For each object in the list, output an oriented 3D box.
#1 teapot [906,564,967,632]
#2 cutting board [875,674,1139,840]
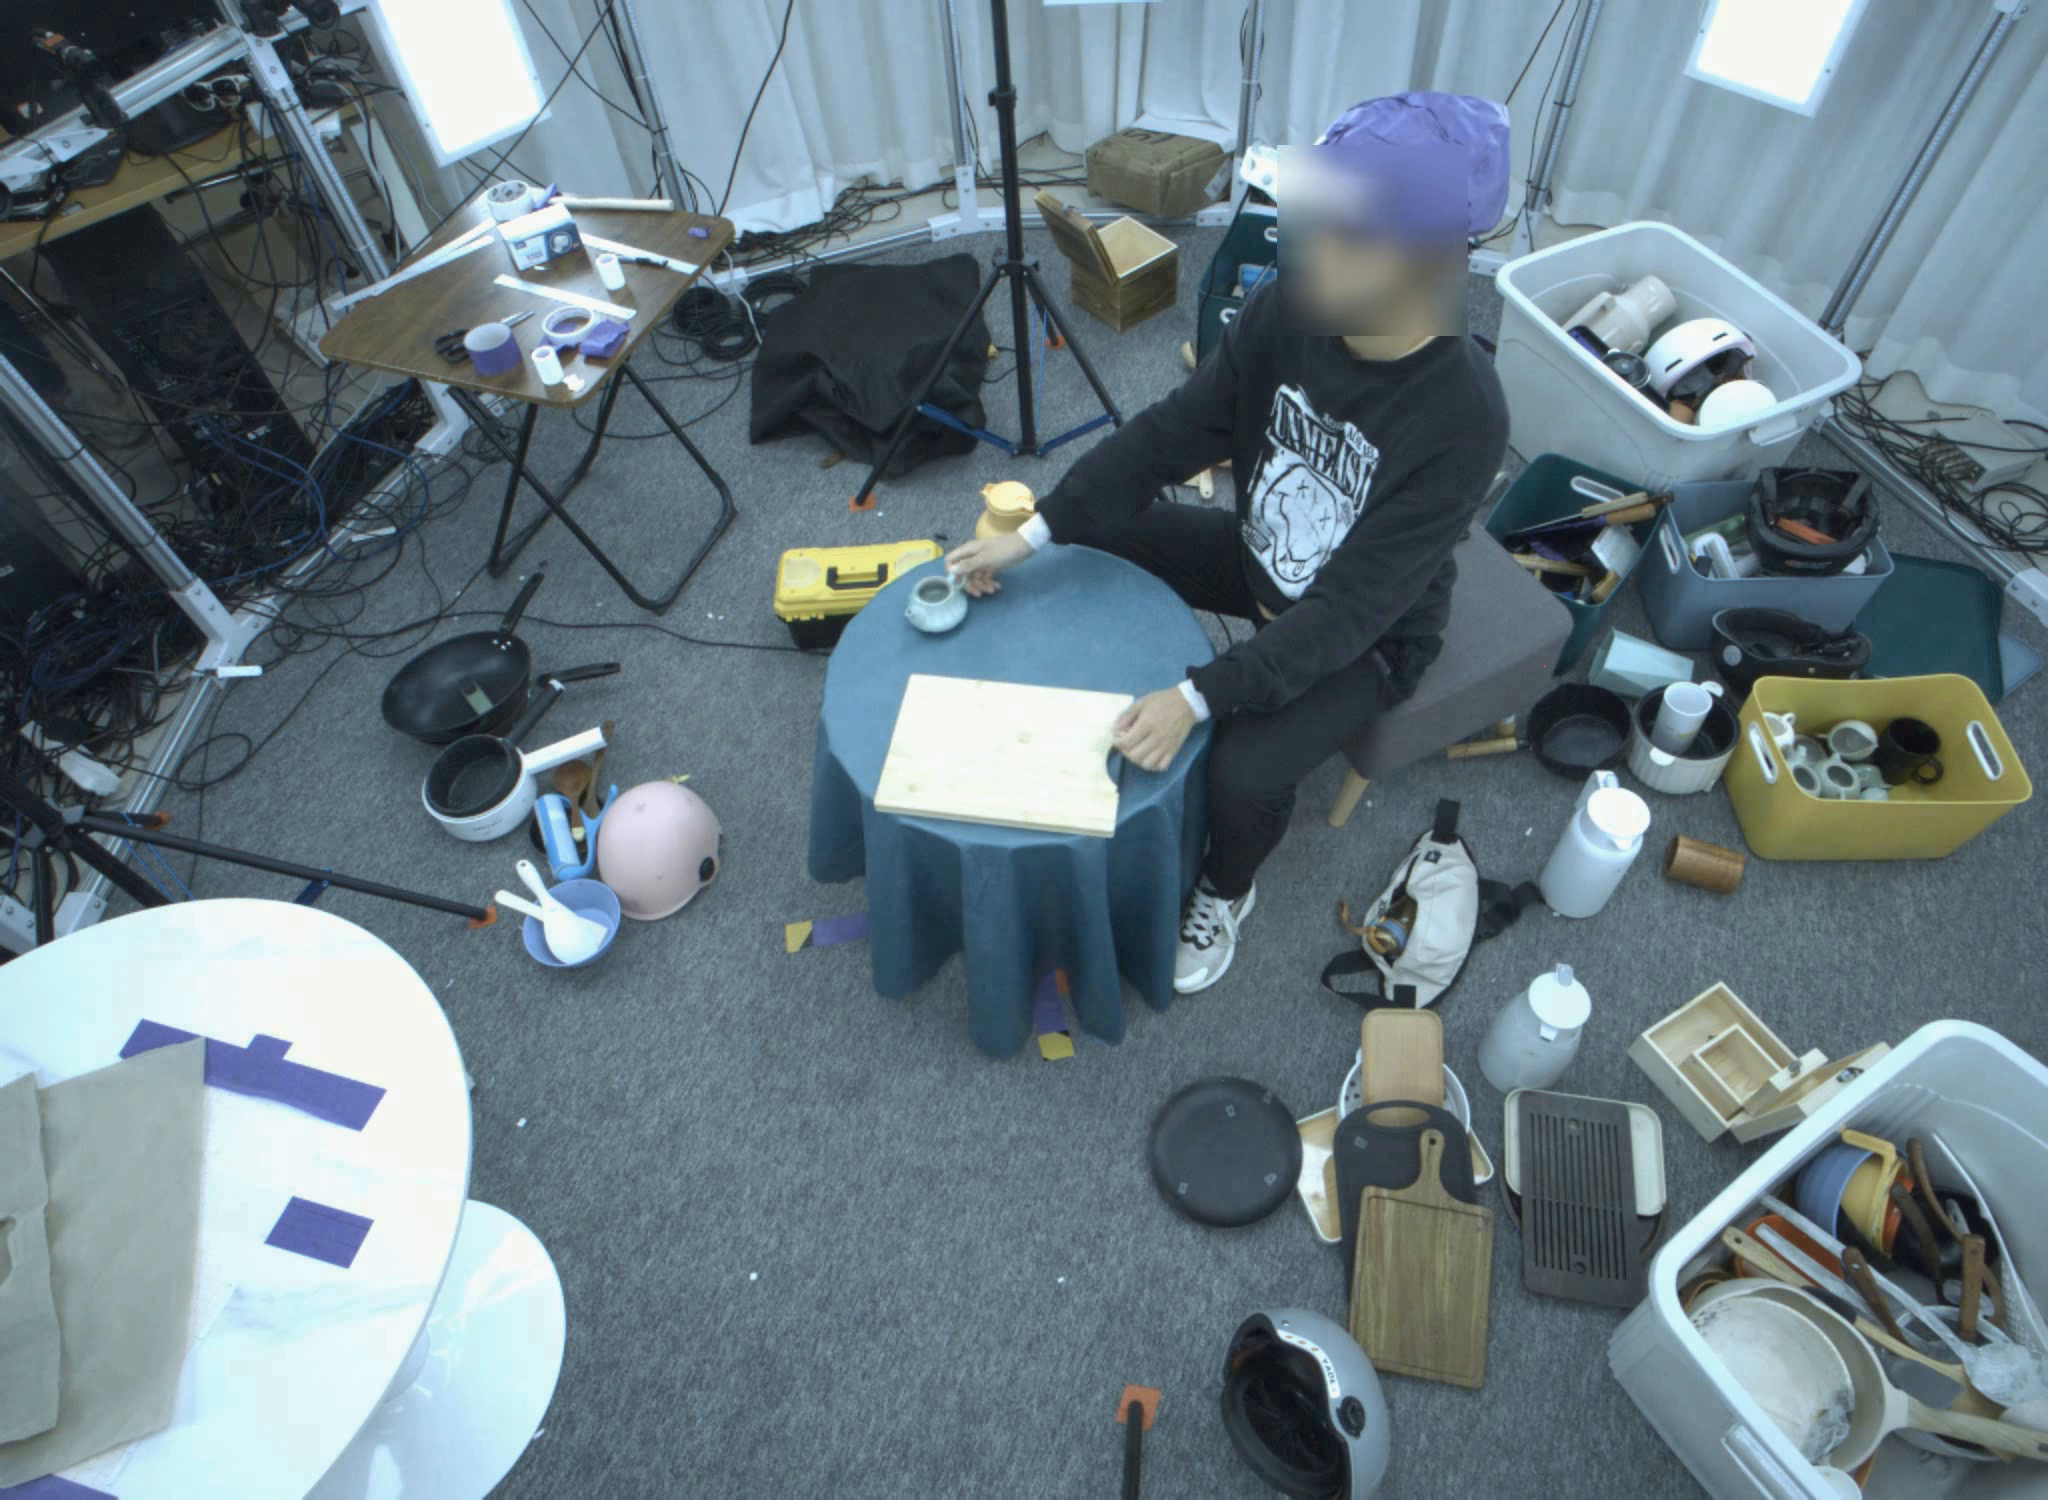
[{"bbox_3d":[-0.137,-0.234,1.918,0.094,0.062,0.137,29,61,23],"label":"teapot"},{"bbox_3d":[-0.019,0.004,1.771,0.347,0.024,0.249,5,55,6],"label":"cutting board"}]
